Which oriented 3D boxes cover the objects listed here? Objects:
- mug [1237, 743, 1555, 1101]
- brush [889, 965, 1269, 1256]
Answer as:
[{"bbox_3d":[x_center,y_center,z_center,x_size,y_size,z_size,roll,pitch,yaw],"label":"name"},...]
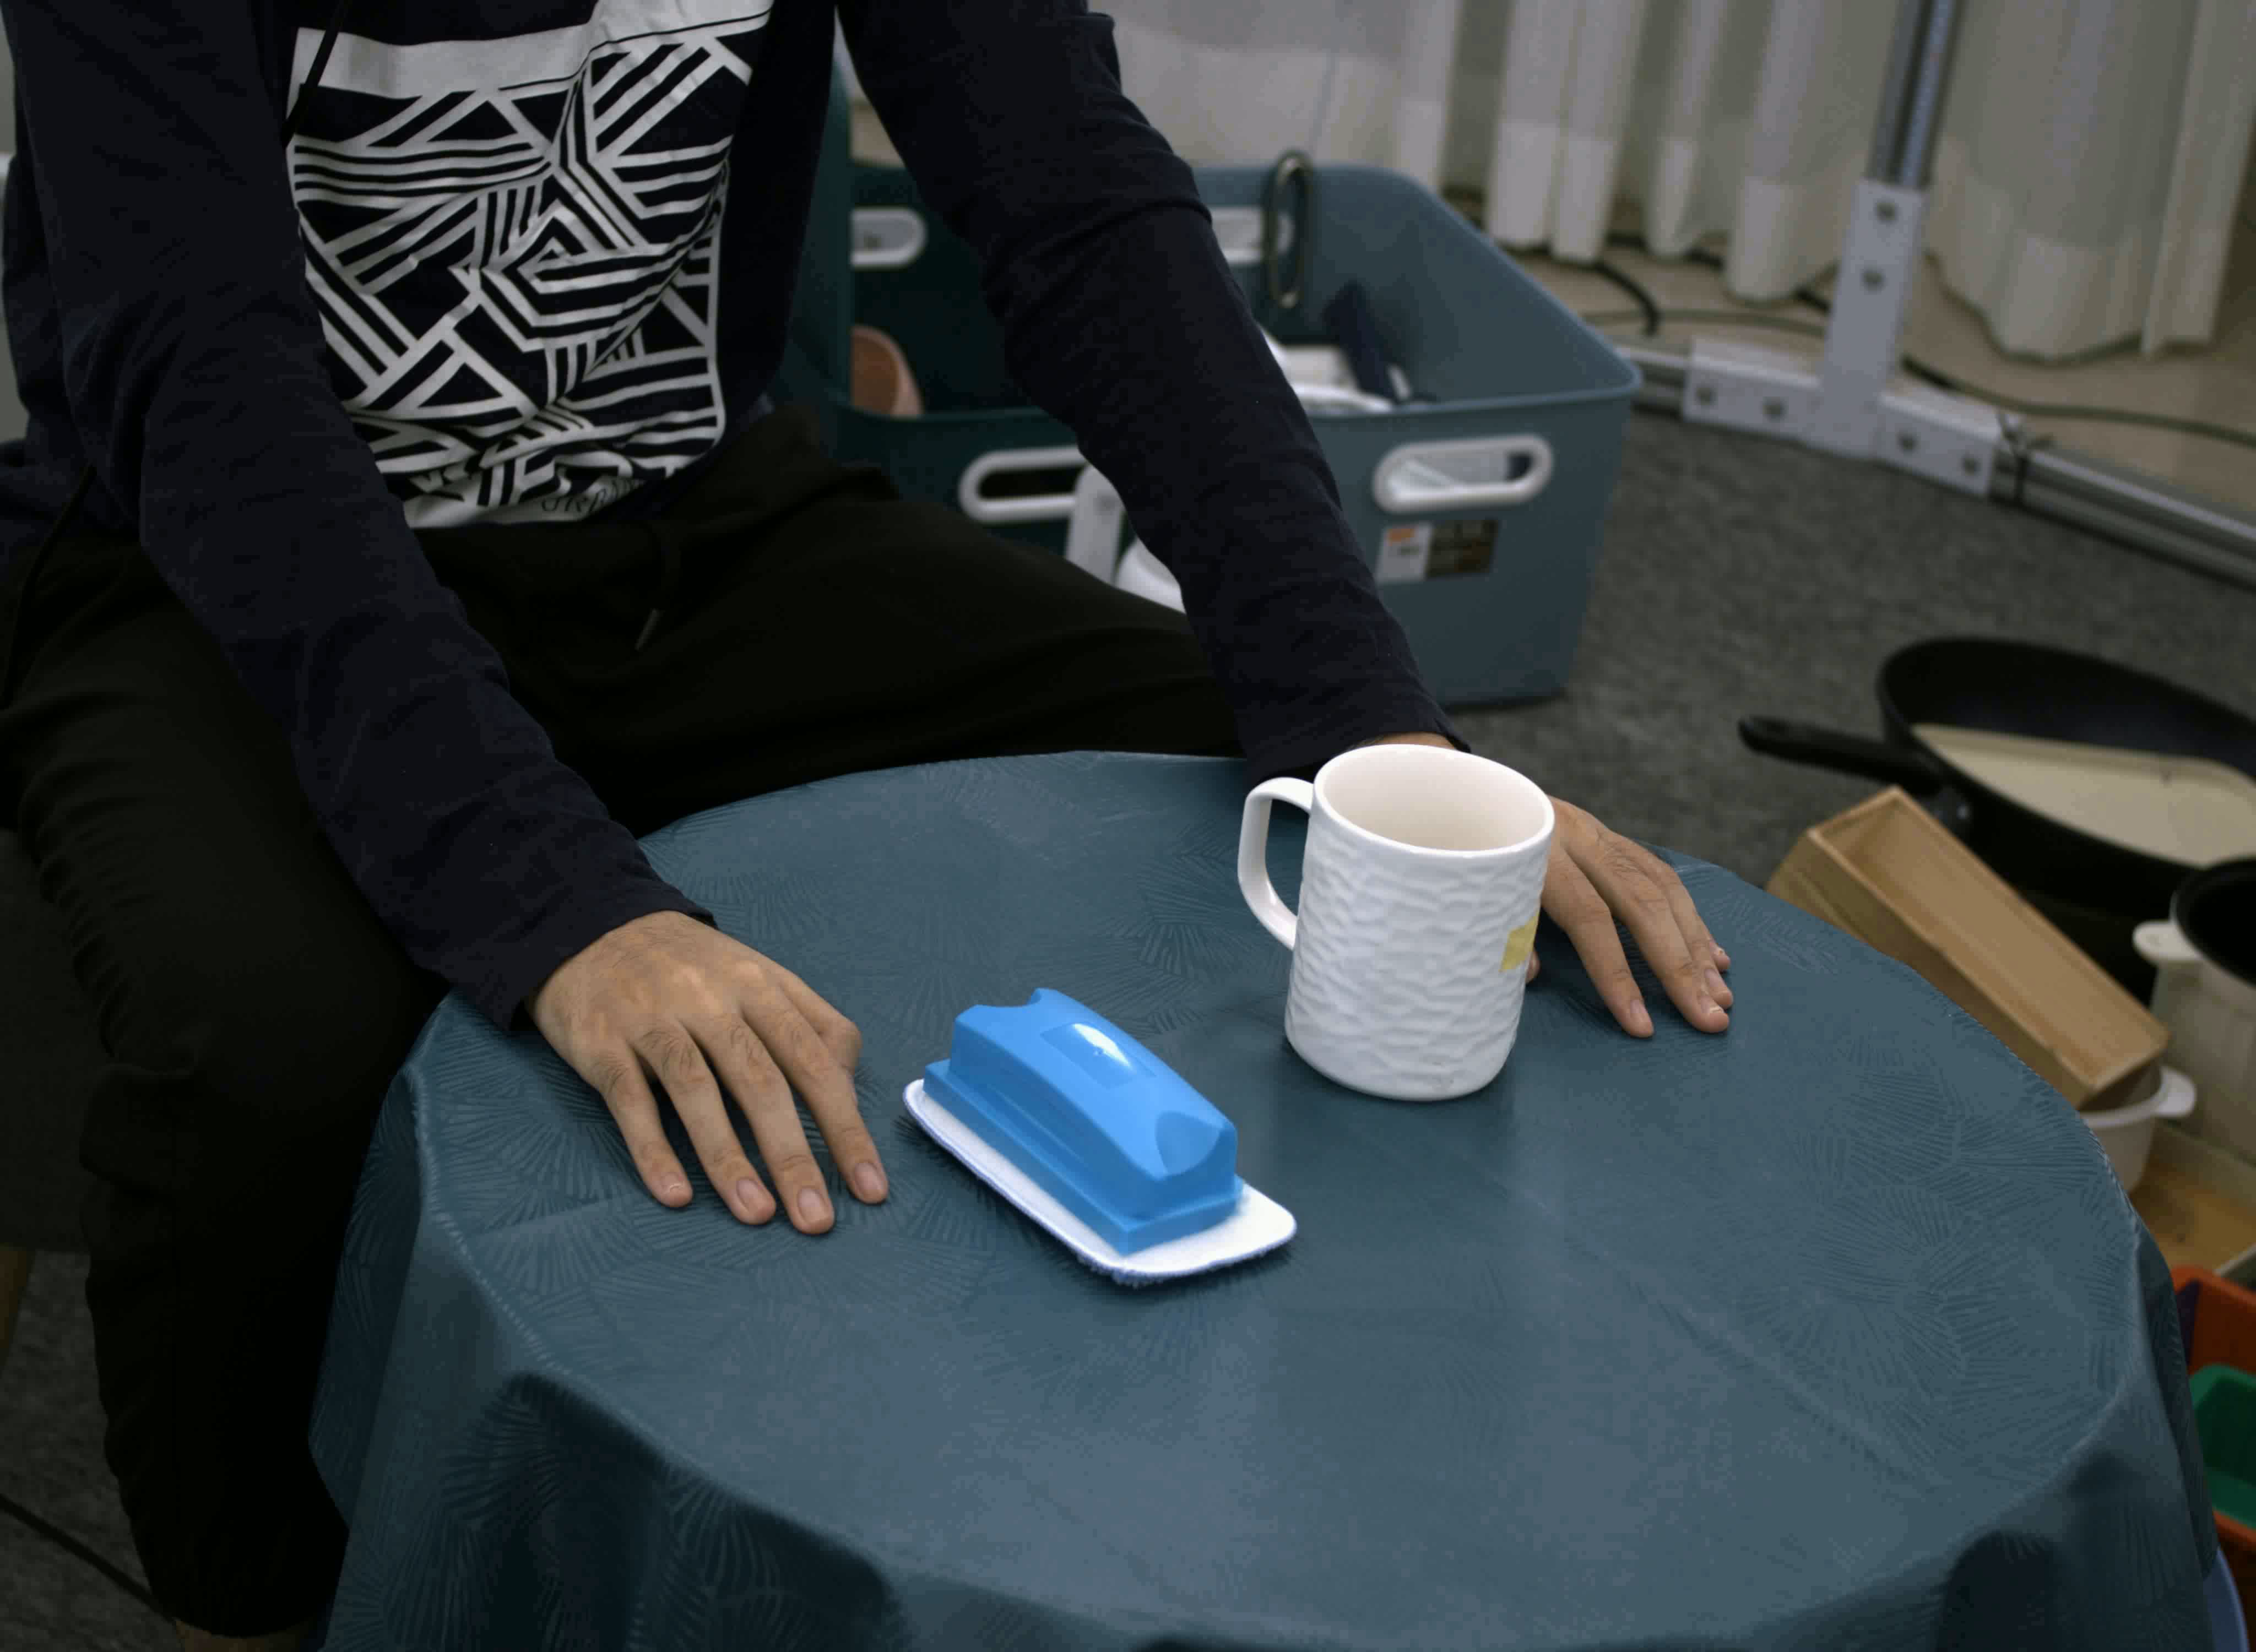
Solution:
[{"bbox_3d":[0.090,0.030,1.898,0.119,0.101,0.085,22,32,28],"label":"mug"},{"bbox_3d":[-0.014,0.092,1.800,0.083,0.056,0.145,-9,33,-33],"label":"brush"}]
